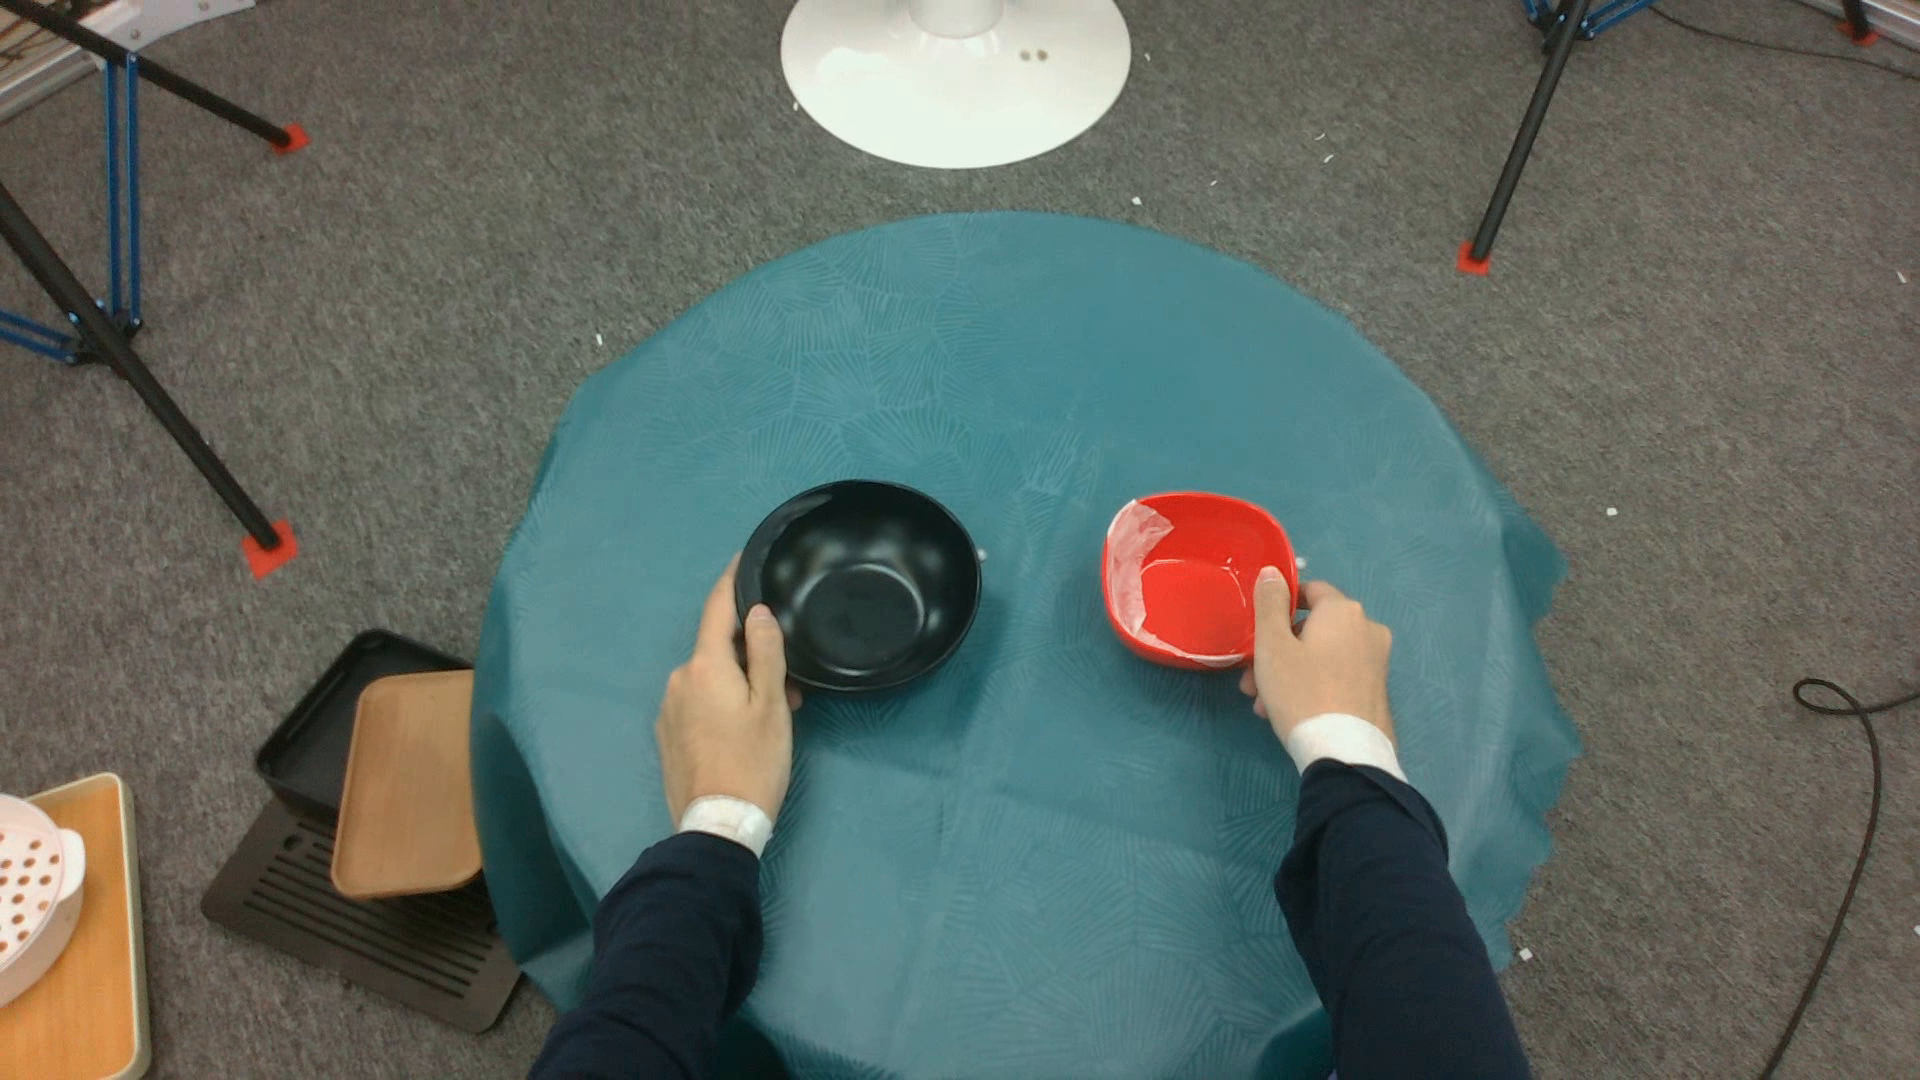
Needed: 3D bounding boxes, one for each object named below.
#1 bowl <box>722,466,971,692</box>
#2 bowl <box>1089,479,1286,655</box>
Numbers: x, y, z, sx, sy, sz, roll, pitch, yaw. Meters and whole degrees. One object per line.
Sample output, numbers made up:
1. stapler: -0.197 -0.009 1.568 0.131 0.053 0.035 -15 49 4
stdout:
1. bowl: -0.063 0.029 0.786 0.140 0.049 0.140 1 61 -1
2. bowl: 0.126 0.023 0.789 0.119 0.051 0.119 1 55 -2
